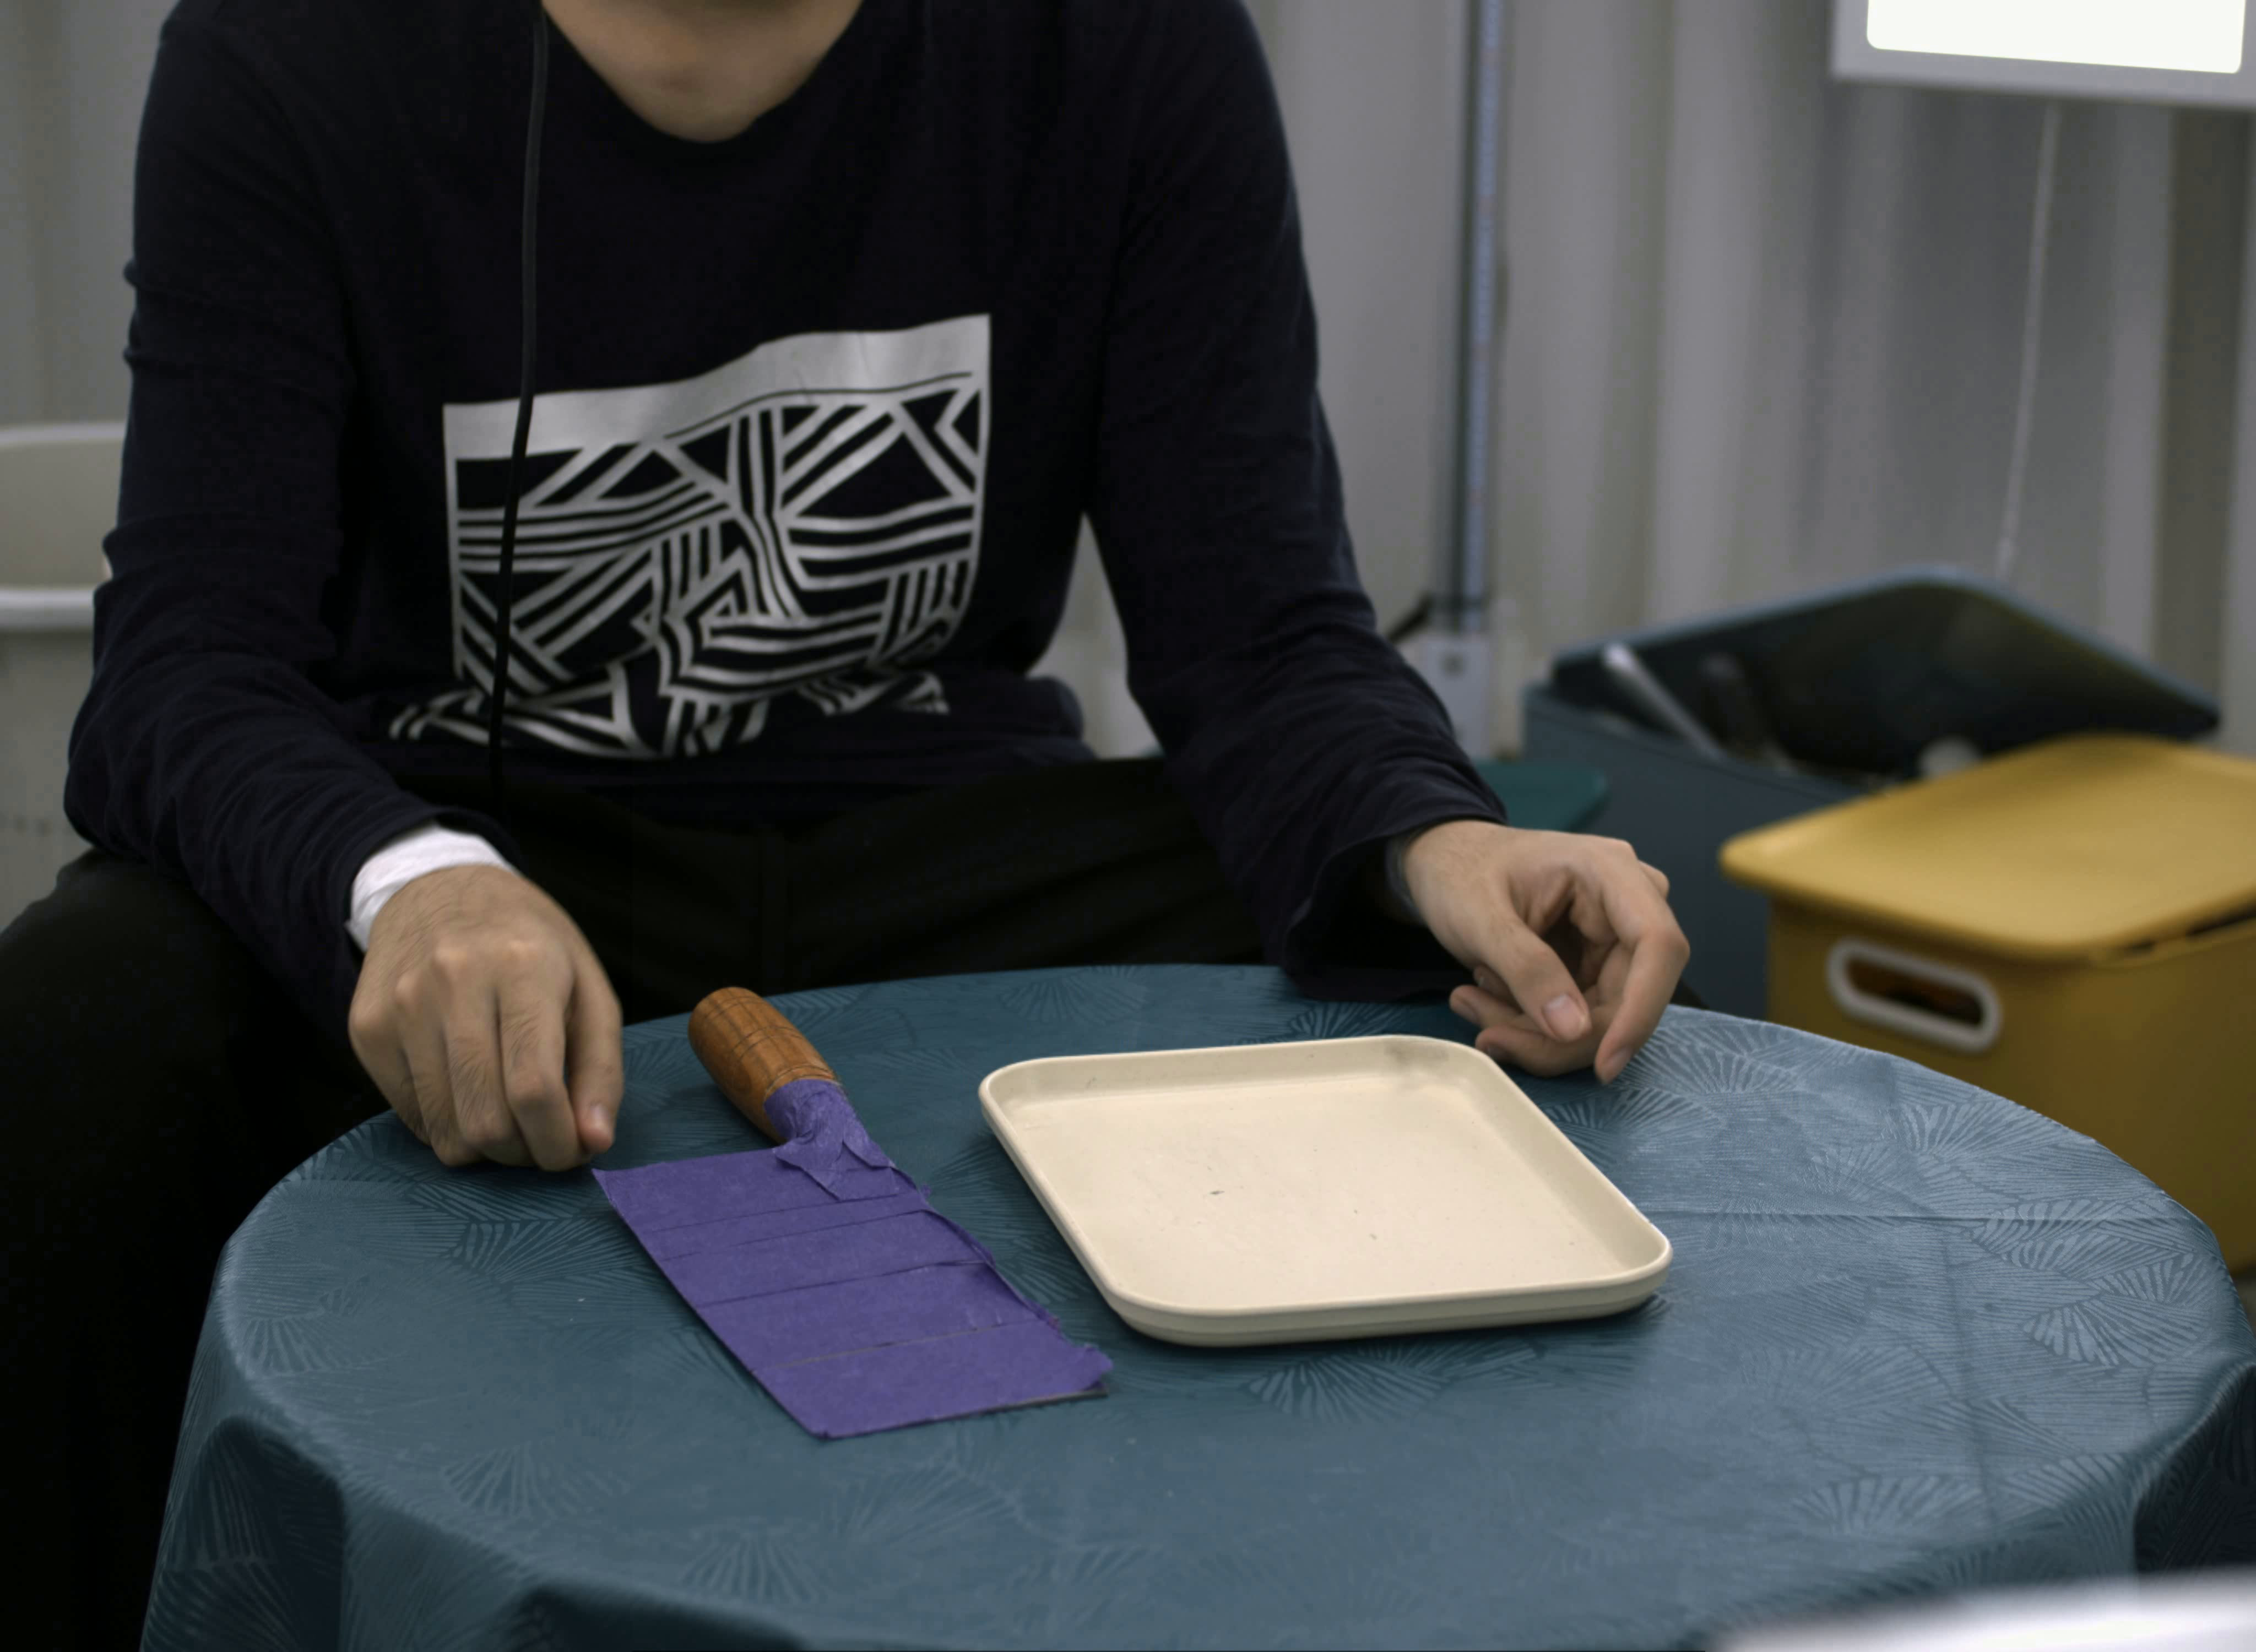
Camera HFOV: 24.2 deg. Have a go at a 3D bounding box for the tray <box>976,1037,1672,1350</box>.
[{"bbox_3d":[0.055,0.110,1.603,0.171,0.017,0.237,-4,16,-13],"label":"tray"}]

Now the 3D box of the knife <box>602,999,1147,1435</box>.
[{"bbox_3d":[-0.101,0.112,1.572,0.104,0.032,0.311,-6,17,-23],"label":"knife"}]
